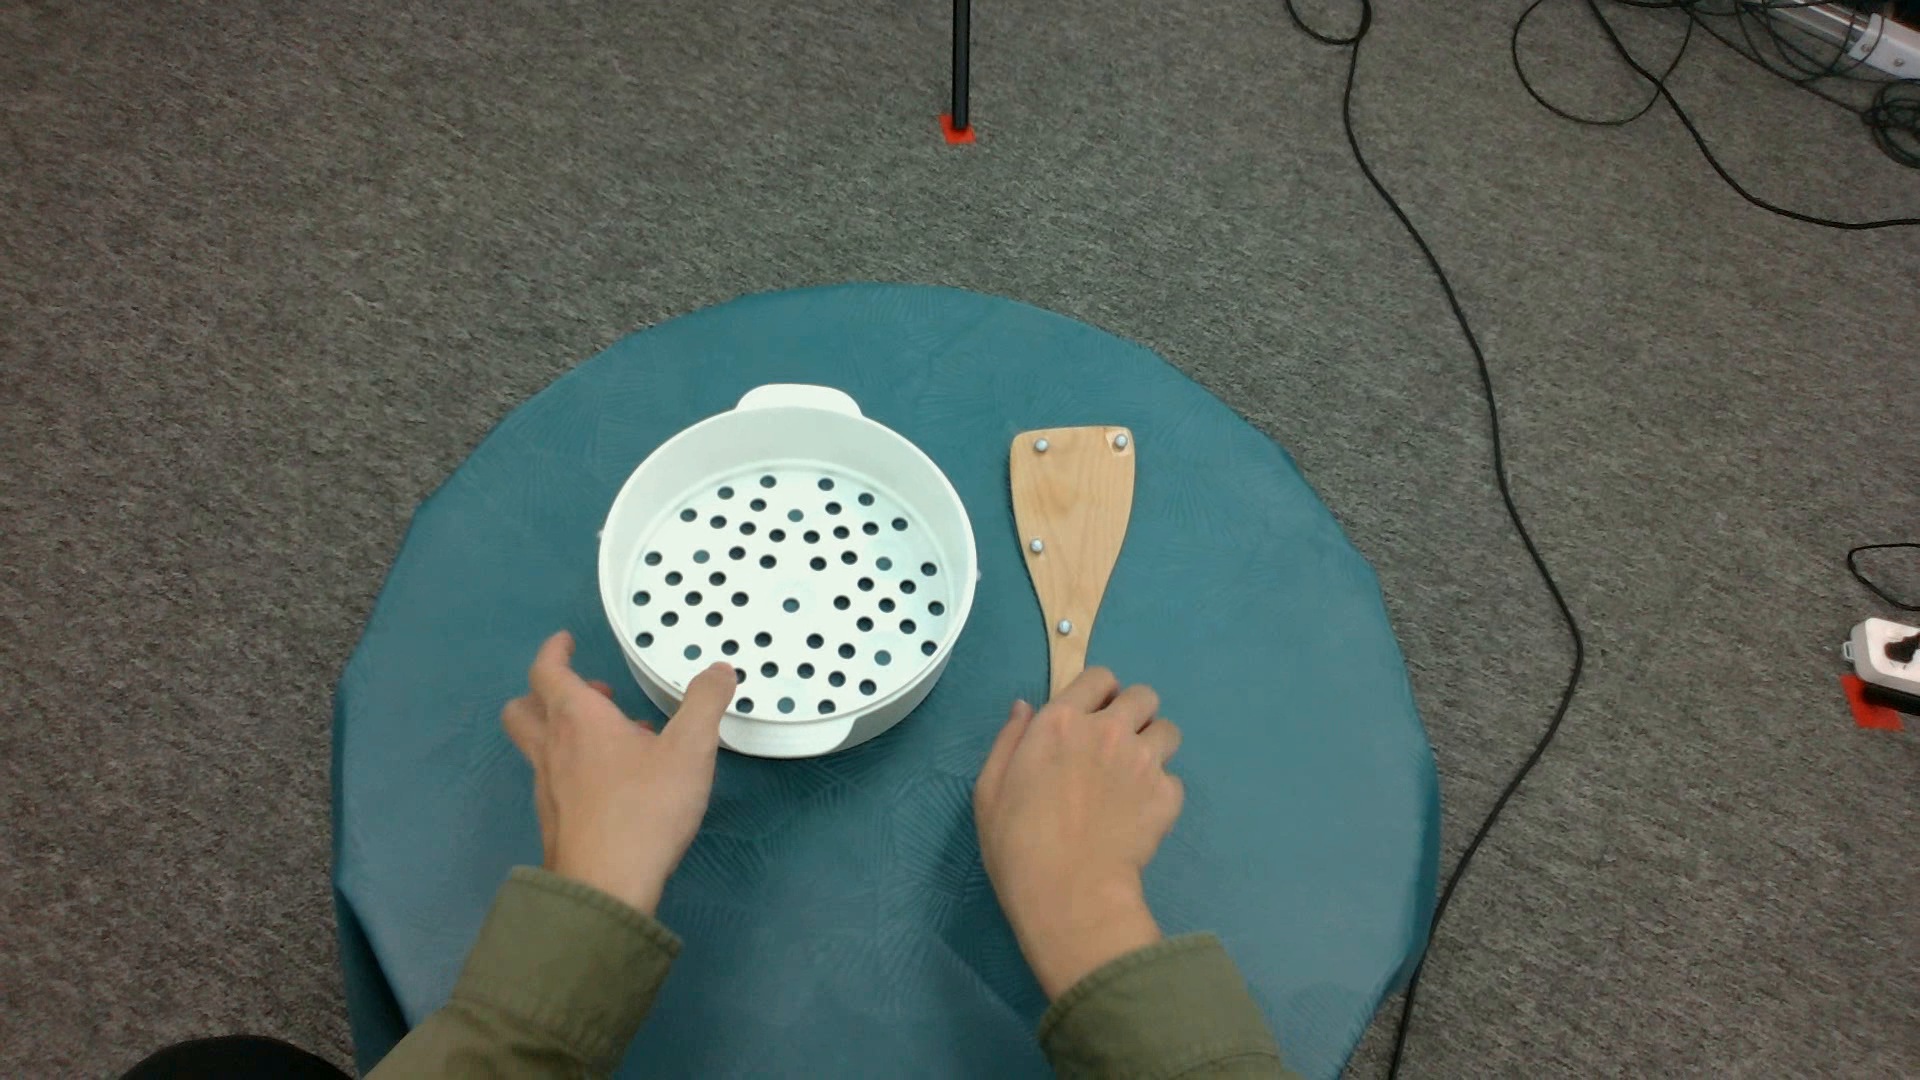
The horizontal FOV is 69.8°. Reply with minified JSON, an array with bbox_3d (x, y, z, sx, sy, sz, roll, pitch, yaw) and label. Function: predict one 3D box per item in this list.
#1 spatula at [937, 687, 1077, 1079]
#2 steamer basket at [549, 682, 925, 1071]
[{"bbox_3d":[0.039,0.221,0.779,0.080,0.016,0.329,-3,47,-5],"label":"spatula"},{"bbox_3d":[-0.121,0.189,0.767,0.202,0.069,0.231,-6,49,-8],"label":"steamer basket"}]
